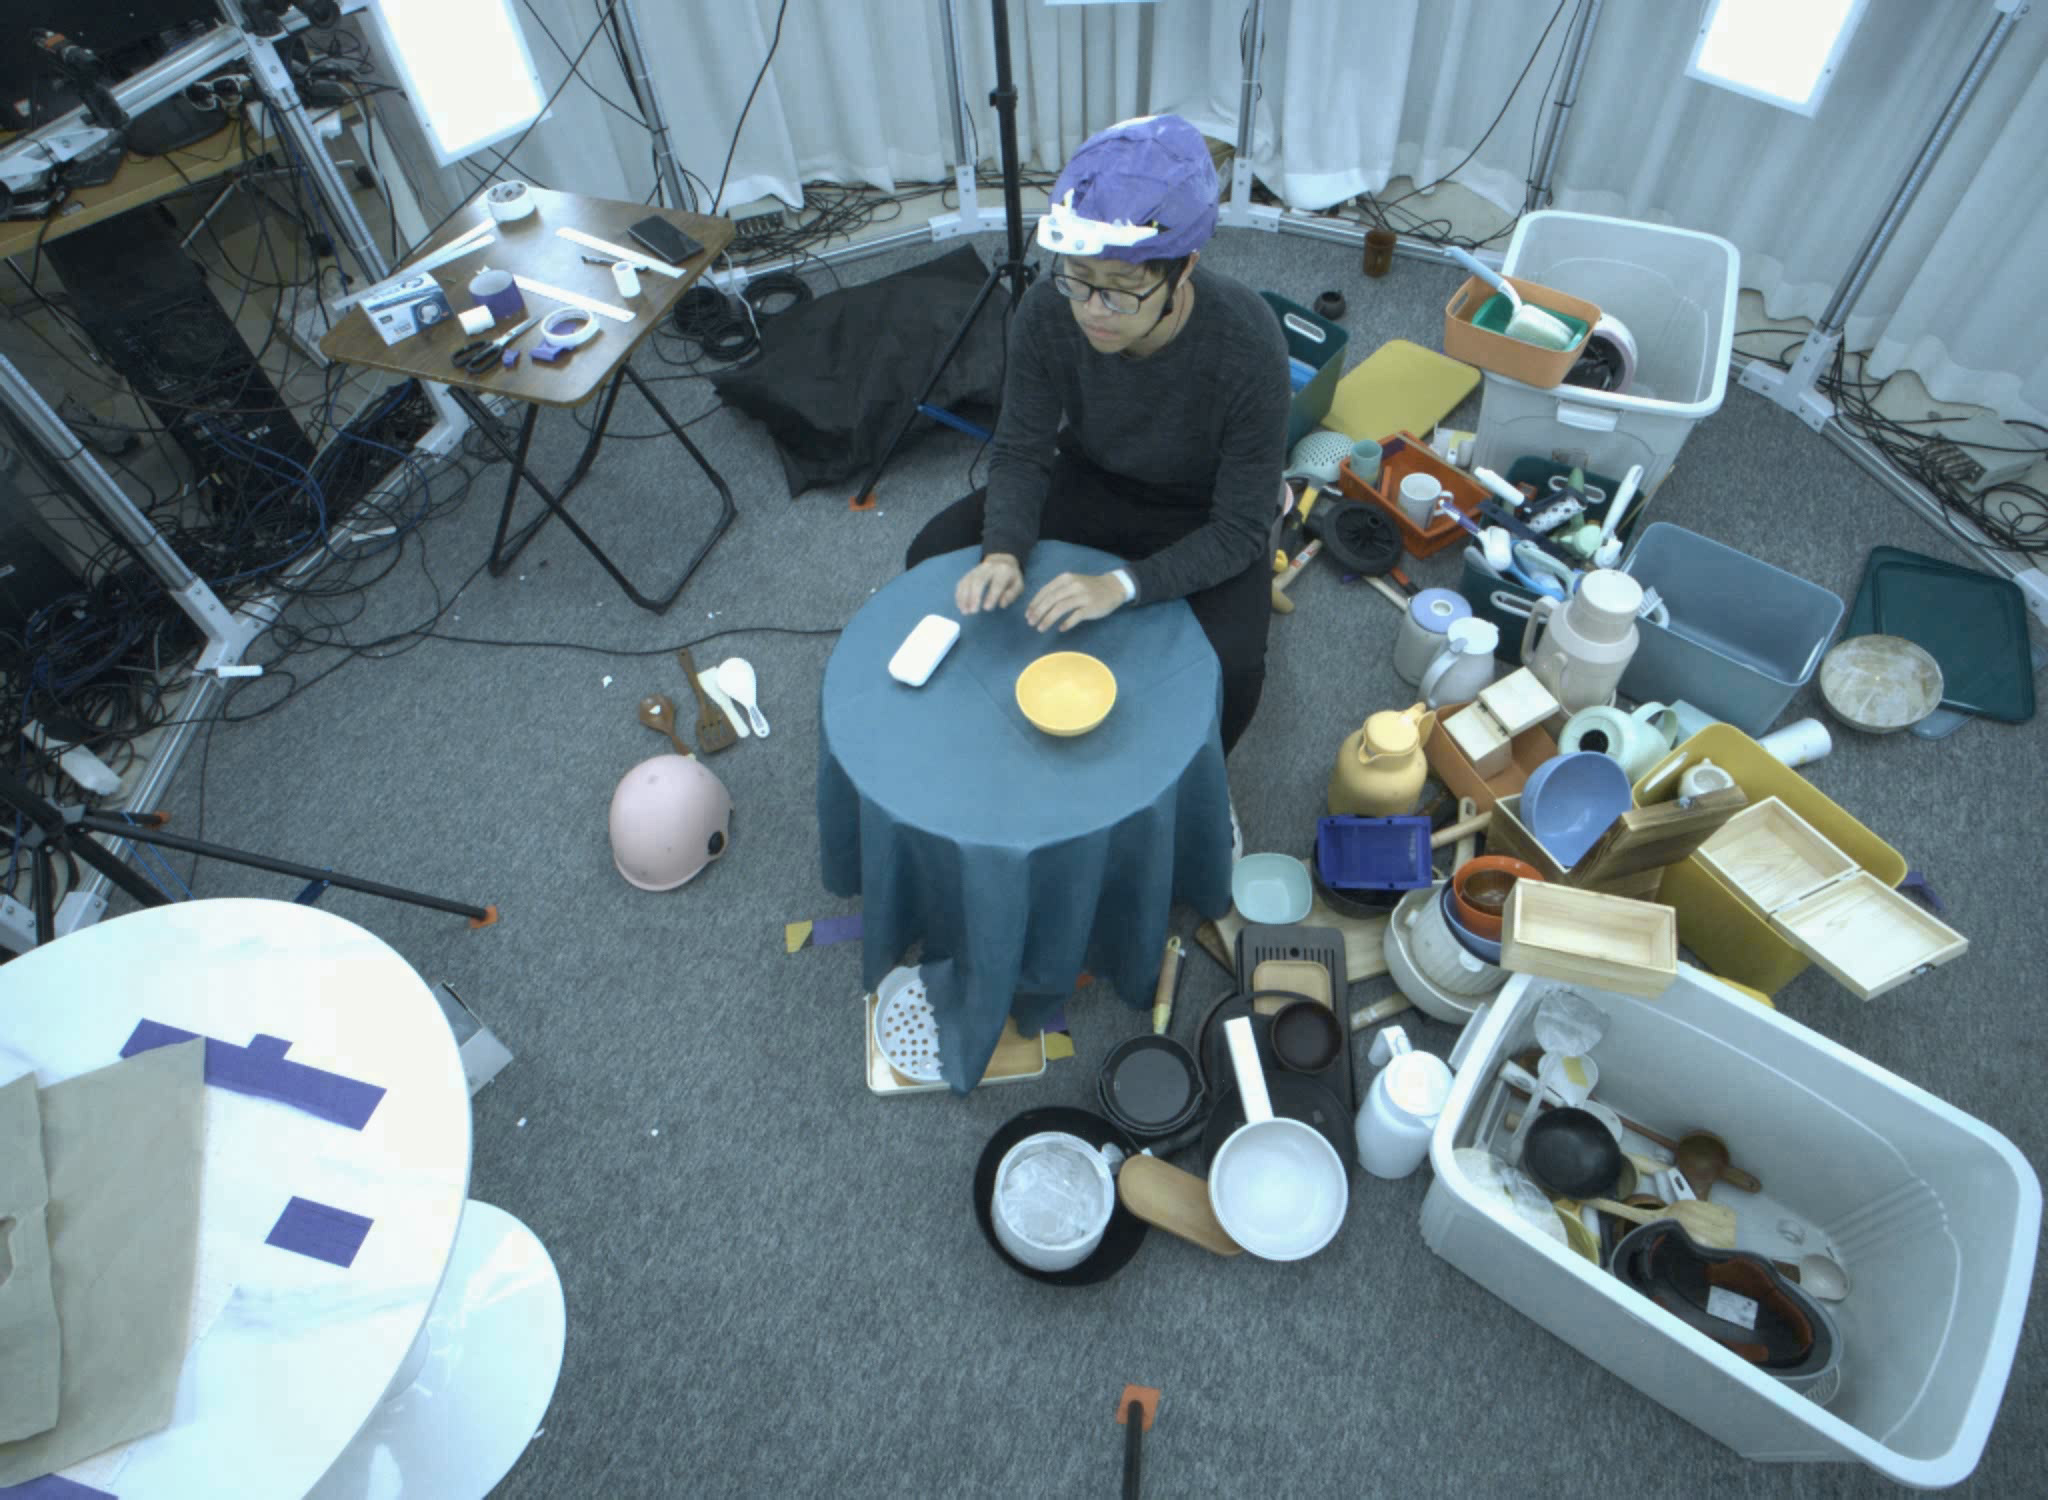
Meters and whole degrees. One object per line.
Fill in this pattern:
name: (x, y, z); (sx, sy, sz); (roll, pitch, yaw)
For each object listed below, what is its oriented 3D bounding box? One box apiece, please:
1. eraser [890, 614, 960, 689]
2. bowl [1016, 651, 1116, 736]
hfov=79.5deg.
eraser: (-0.150, -0.153, 1.882); (0.062, 0.035, 0.131); (24, 60, 17)
bowl: (0.061, -0.071, 1.800); (0.145, 0.061, 0.144); (0, 55, 1)
